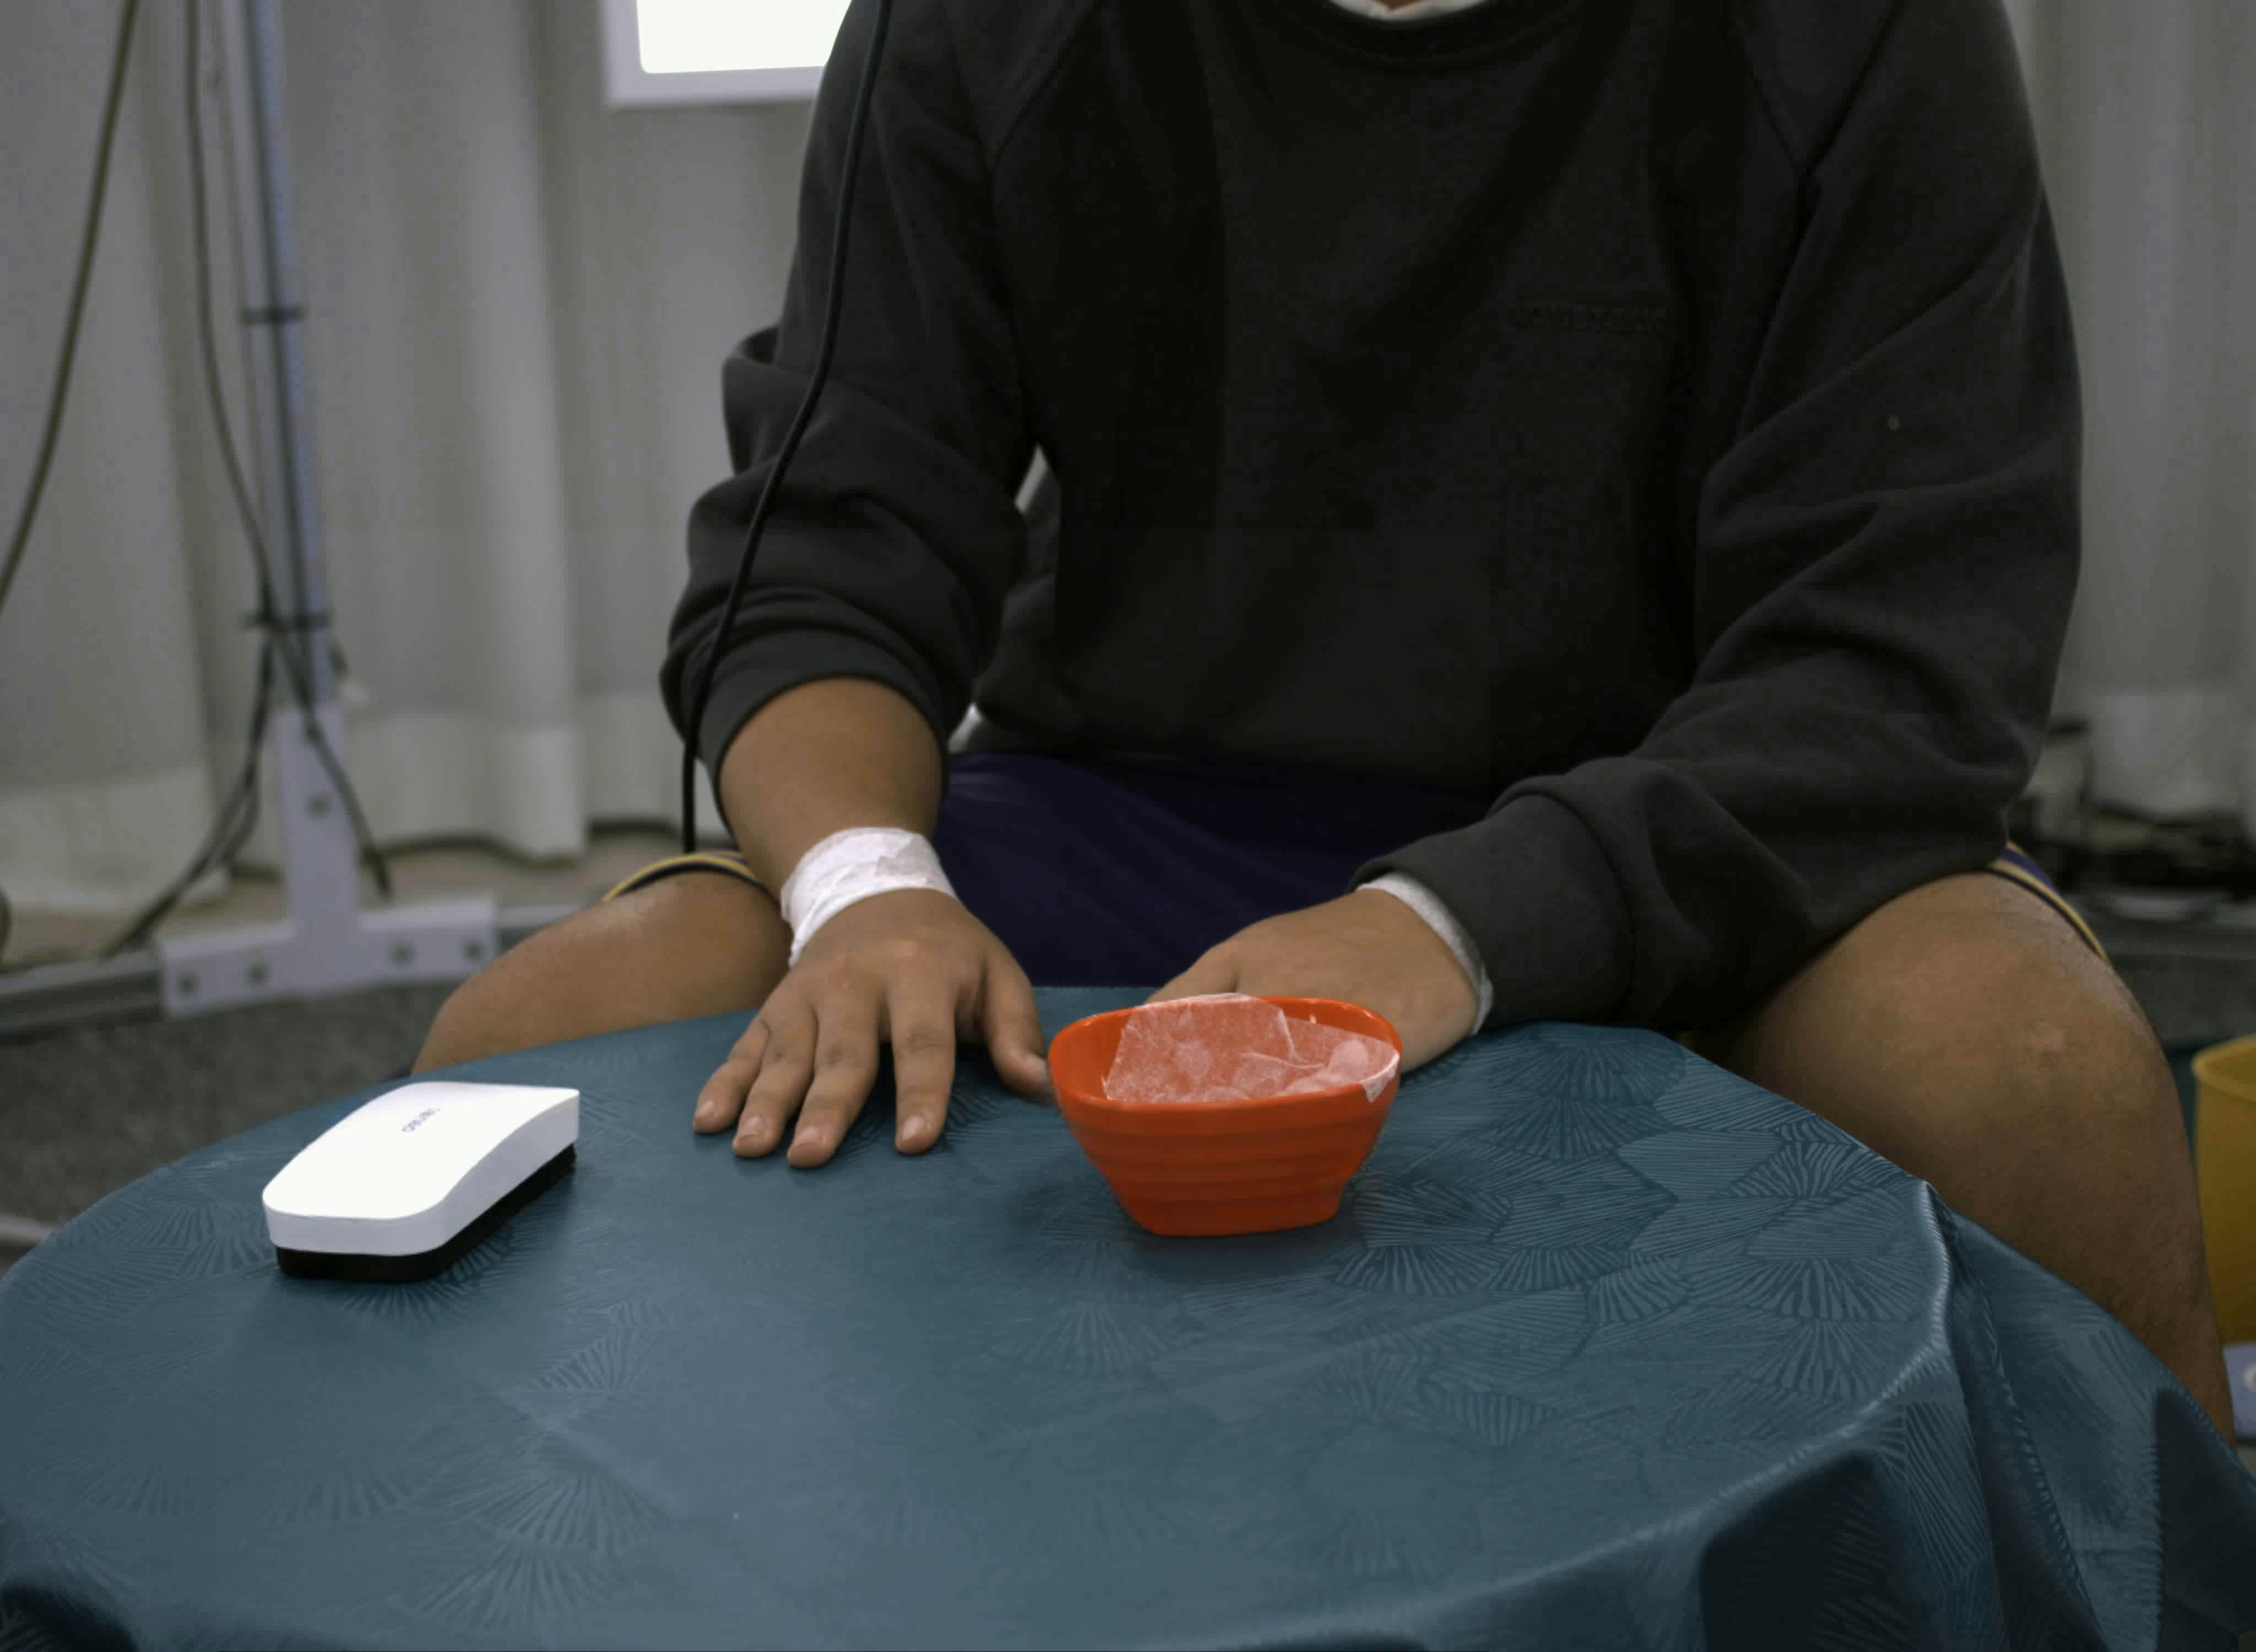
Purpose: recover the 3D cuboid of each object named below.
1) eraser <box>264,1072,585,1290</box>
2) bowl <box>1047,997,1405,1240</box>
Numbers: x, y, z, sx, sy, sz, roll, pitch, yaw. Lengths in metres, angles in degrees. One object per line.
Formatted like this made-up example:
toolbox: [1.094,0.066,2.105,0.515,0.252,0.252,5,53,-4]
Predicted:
eraser: [-0.218,0.108,1.723,0.063,0.034,0.132,4,18,19]
bowl: [0.031,0.093,1.695,0.118,0.051,0.120,-4,14,1]
